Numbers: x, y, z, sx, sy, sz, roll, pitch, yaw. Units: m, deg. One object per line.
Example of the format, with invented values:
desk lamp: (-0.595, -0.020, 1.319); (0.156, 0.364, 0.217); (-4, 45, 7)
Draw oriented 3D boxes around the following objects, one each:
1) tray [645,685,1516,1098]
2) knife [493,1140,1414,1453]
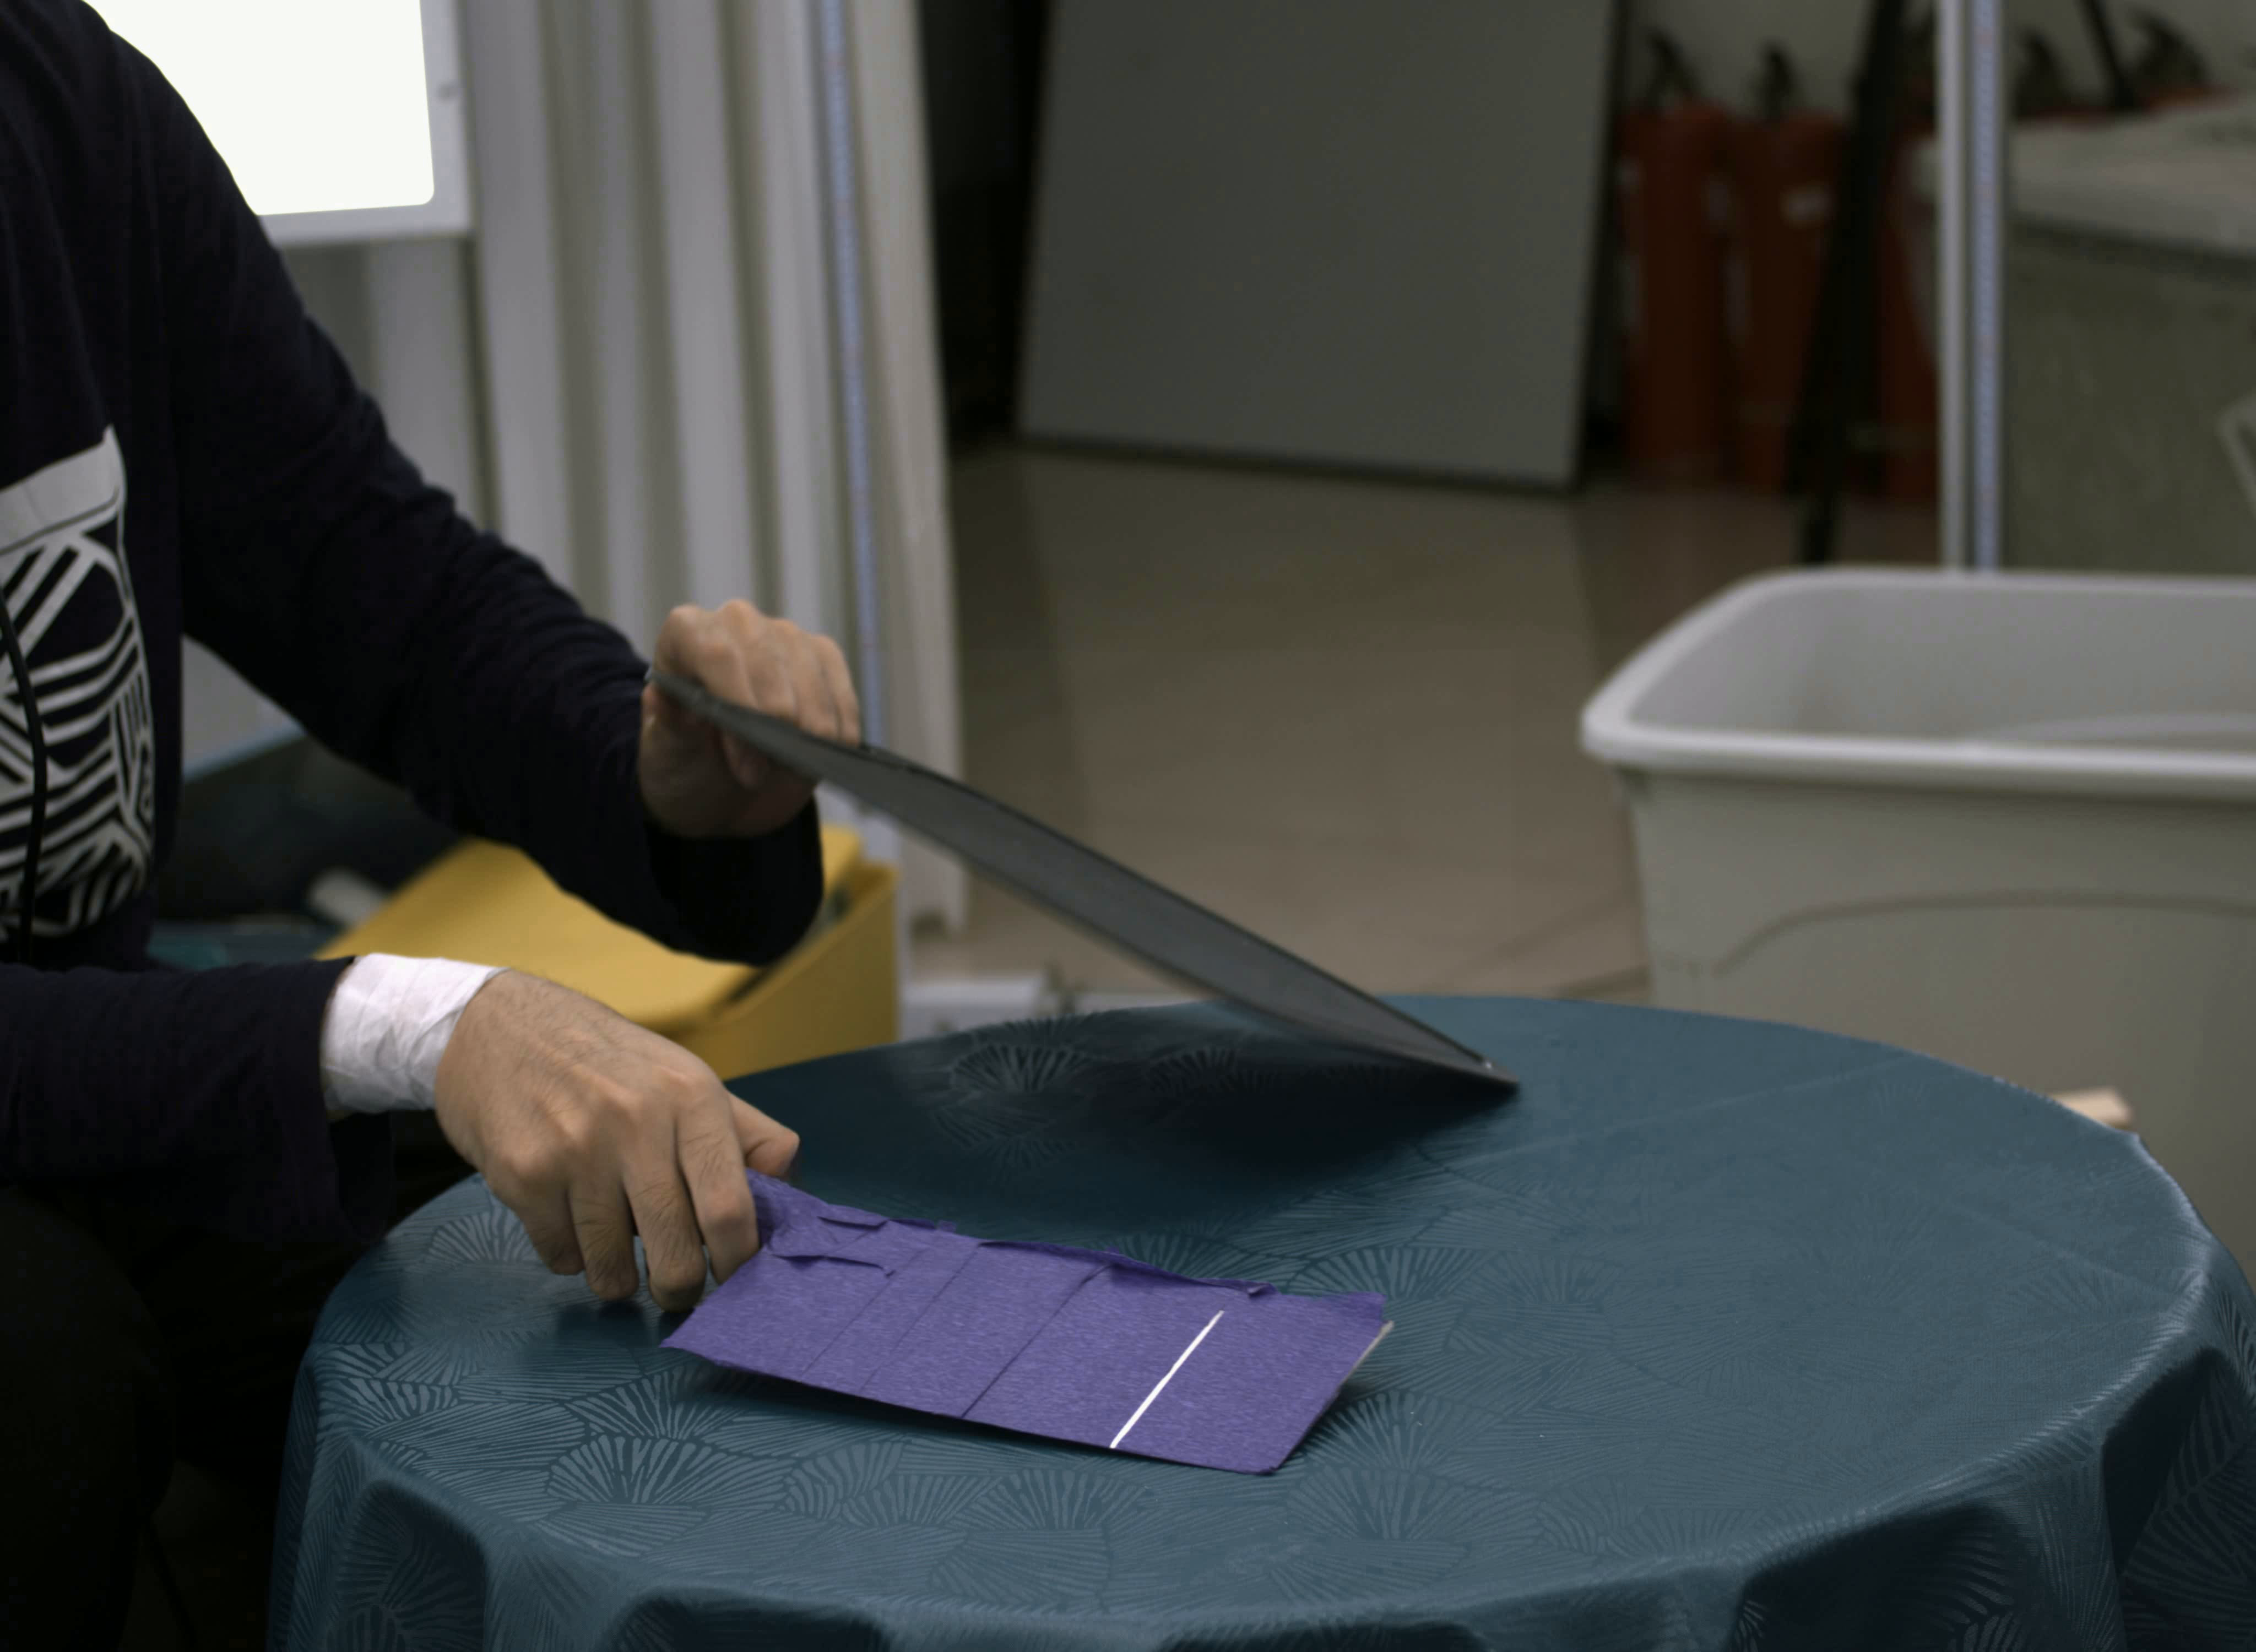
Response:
tray: (-0.023, 0.018, 1.877); (0.328, 0.010, 0.207); (28, 7, 36)
knife: (-0.072, 0.139, 1.617); (0.316, 0.032, 0.102); (5, 27, 30)
